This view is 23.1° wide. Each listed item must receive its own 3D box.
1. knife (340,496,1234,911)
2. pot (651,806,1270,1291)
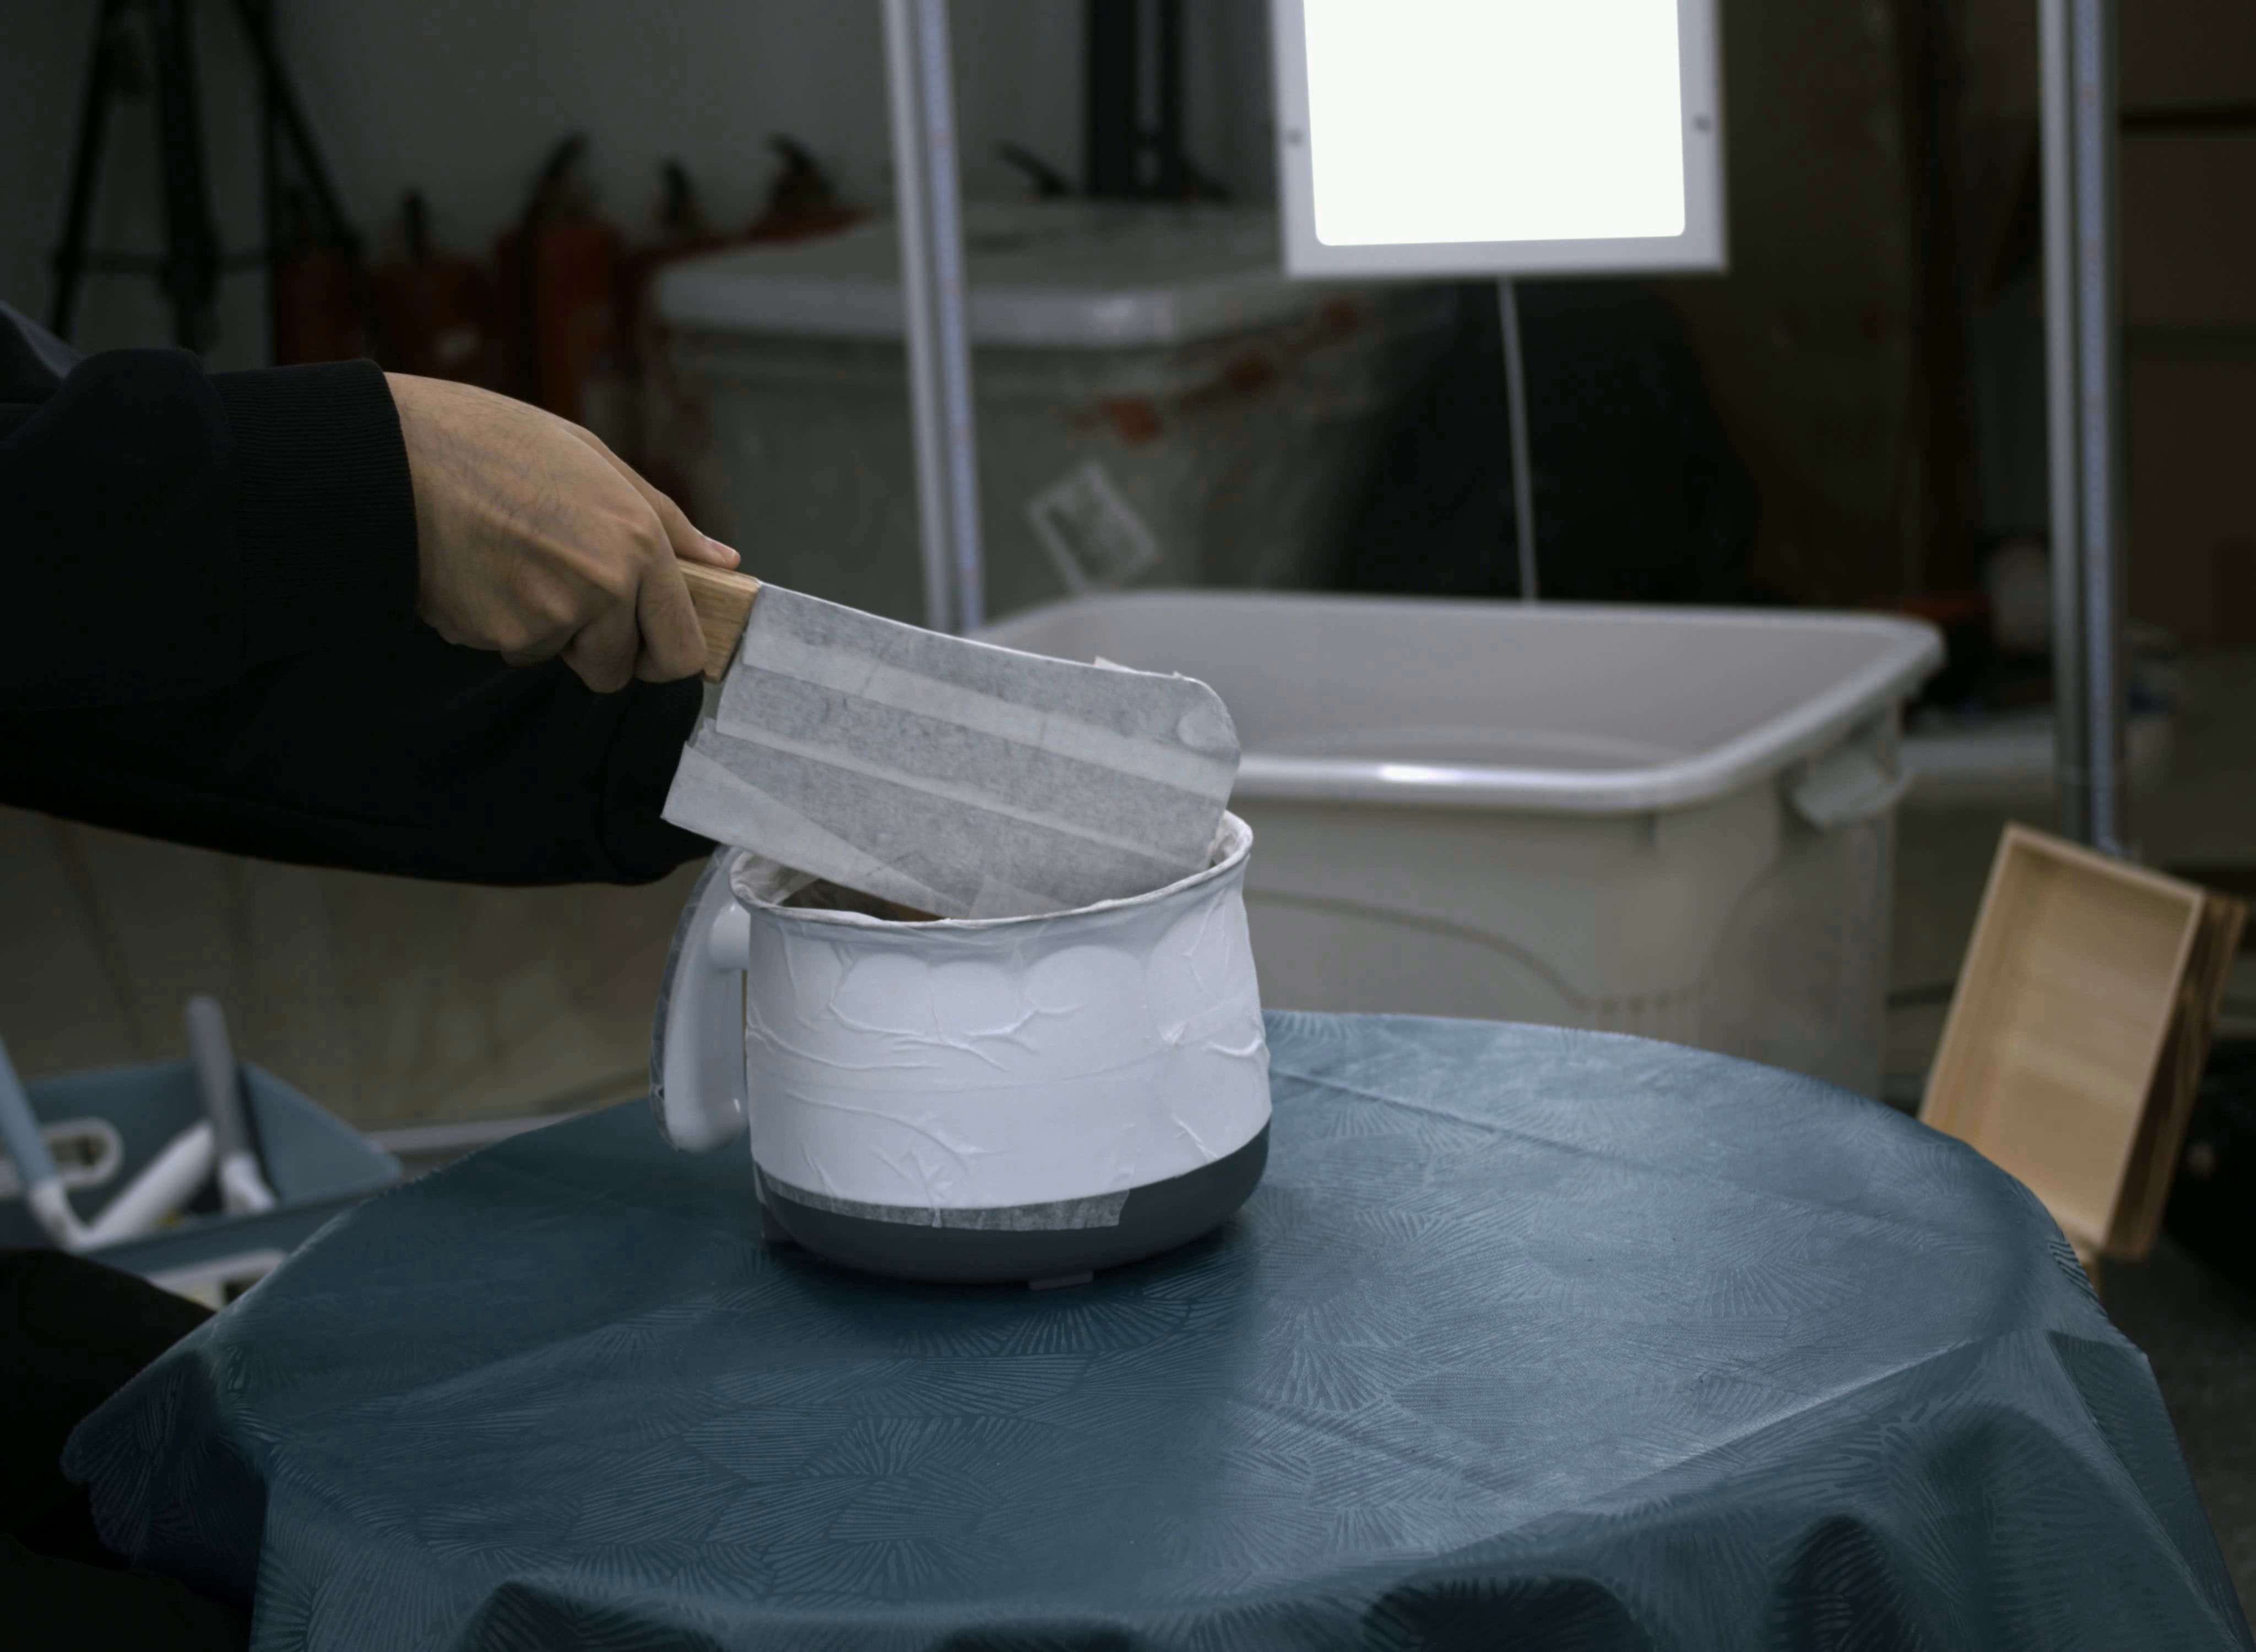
[{"bbox_3d":[-0.109,-0.044,1.808,0.312,0.114,0.022,20,9,-12],"label":"knife"},{"bbox_3d":[-0.065,0.068,1.869,0.238,0.137,0.174,5,16,32],"label":"pot"}]
